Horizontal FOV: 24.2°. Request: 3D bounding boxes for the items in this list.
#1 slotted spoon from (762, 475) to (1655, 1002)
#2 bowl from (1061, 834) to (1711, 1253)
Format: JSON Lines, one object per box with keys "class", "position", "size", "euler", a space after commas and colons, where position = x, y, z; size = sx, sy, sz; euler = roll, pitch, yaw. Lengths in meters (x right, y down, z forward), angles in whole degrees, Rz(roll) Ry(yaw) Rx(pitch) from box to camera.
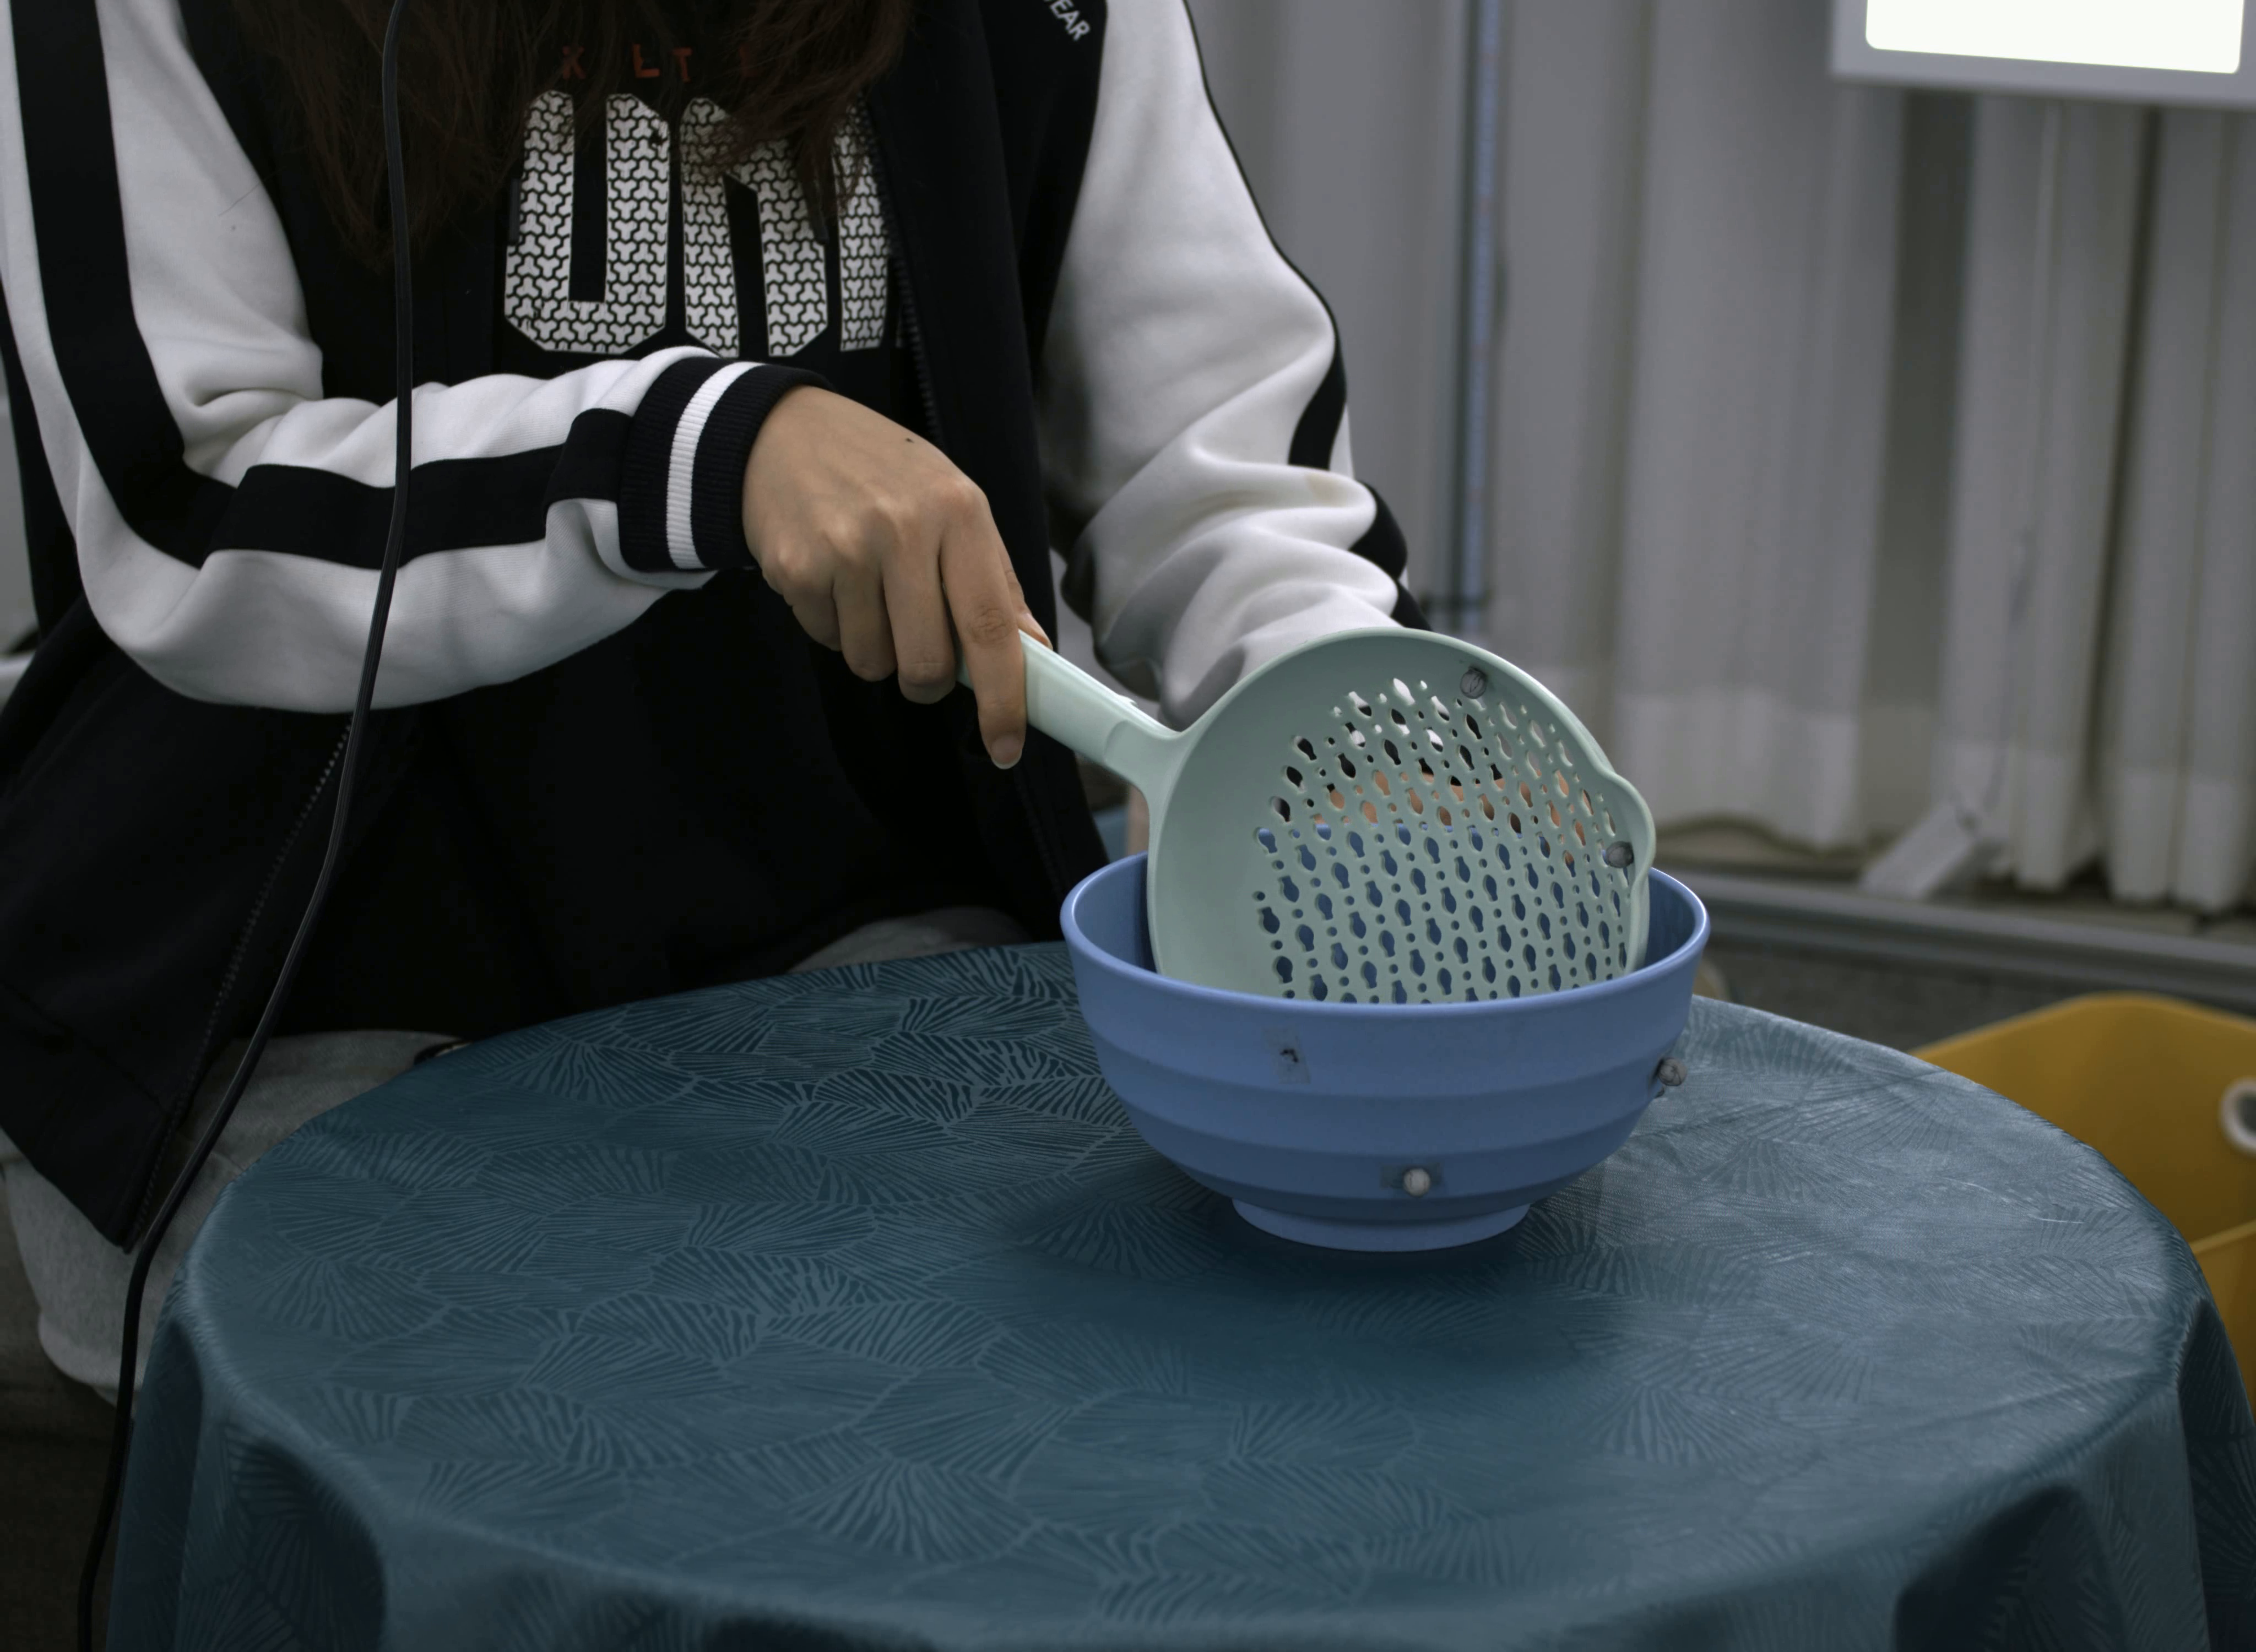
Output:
{"class": "slotted spoon", "position": [0.012, -0.023, 1.646], "size": [0.355, 0.170, 0.075], "euler": [29, 17, 19]}
{"class": "bowl", "position": [0.077, 0.070, 1.599], "size": [0.196, 0.096, 0.195], "euler": [0, 16, 0]}
